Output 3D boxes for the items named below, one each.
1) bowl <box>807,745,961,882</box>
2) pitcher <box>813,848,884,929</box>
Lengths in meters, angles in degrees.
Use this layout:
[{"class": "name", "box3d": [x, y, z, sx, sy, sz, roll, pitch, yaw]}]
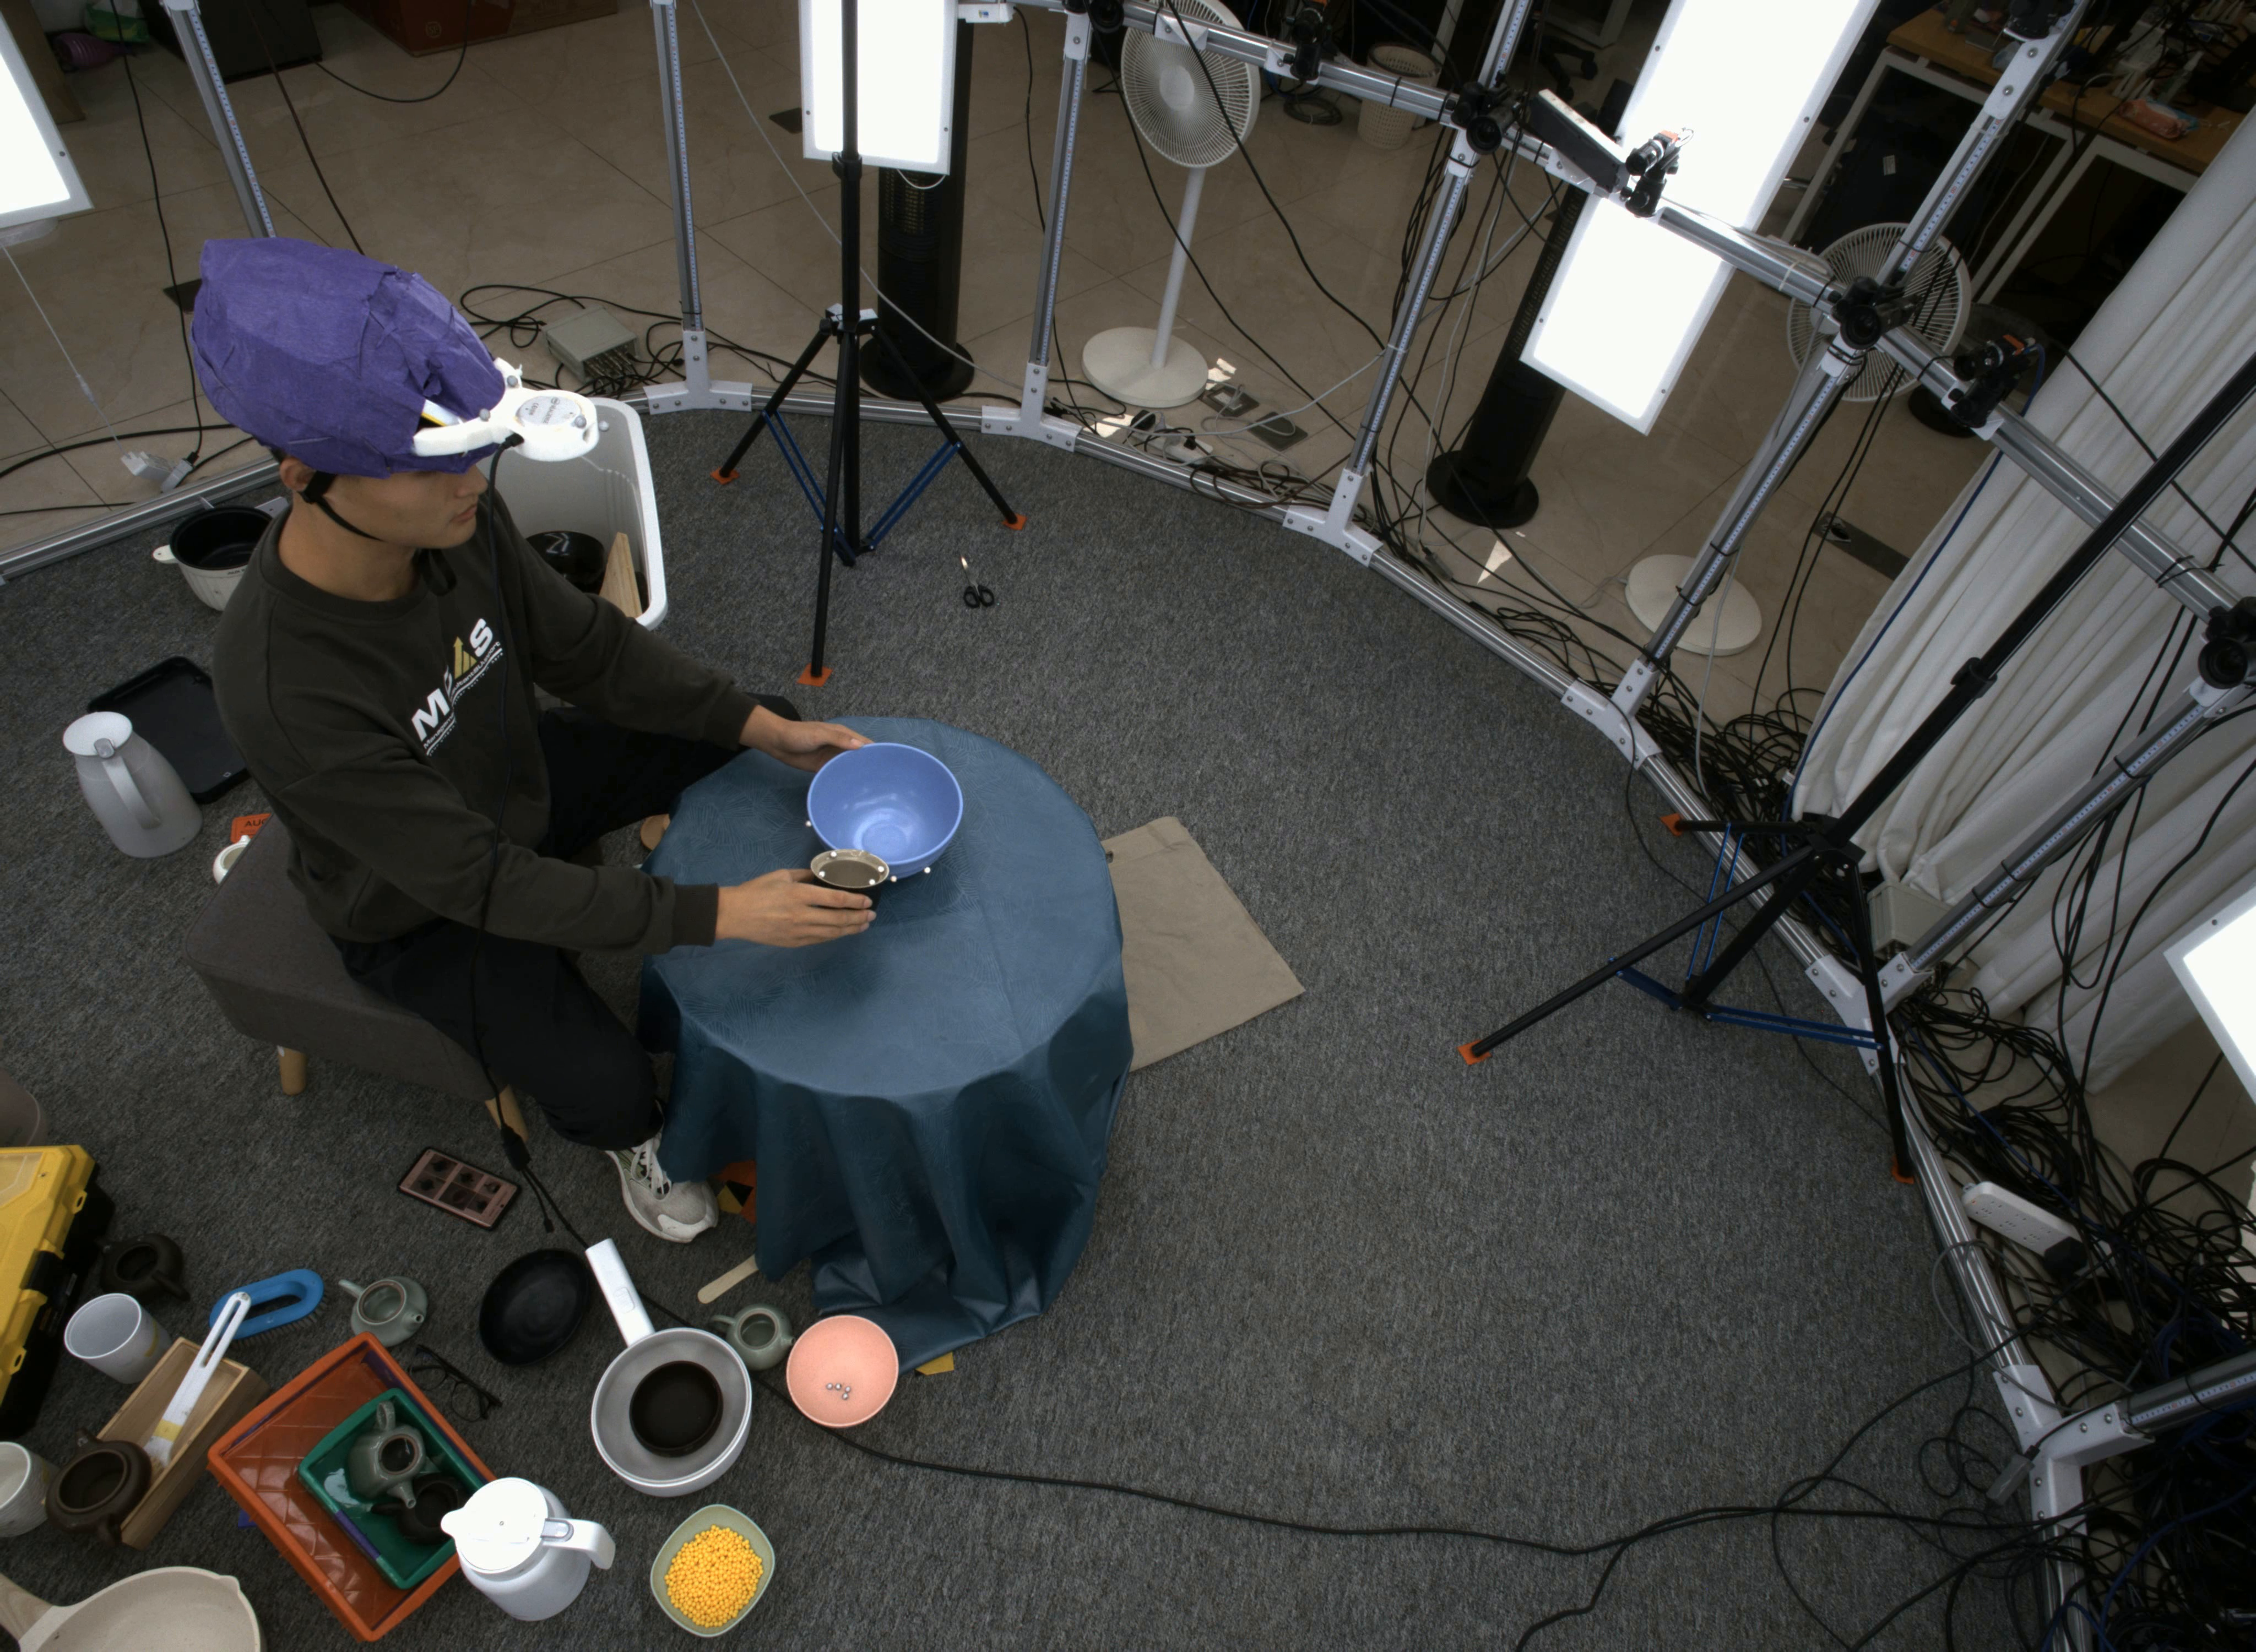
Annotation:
[{"class": "bowl", "box3d": [-0.317, -0.002, 1.704, 0.195, 0.097, 0.193, 6, 53, -6]}, {"class": "pitcher", "box3d": [-0.337, 0.077, 1.569, 0.083, 0.073, 0.094, 10, 27, 0]}]
